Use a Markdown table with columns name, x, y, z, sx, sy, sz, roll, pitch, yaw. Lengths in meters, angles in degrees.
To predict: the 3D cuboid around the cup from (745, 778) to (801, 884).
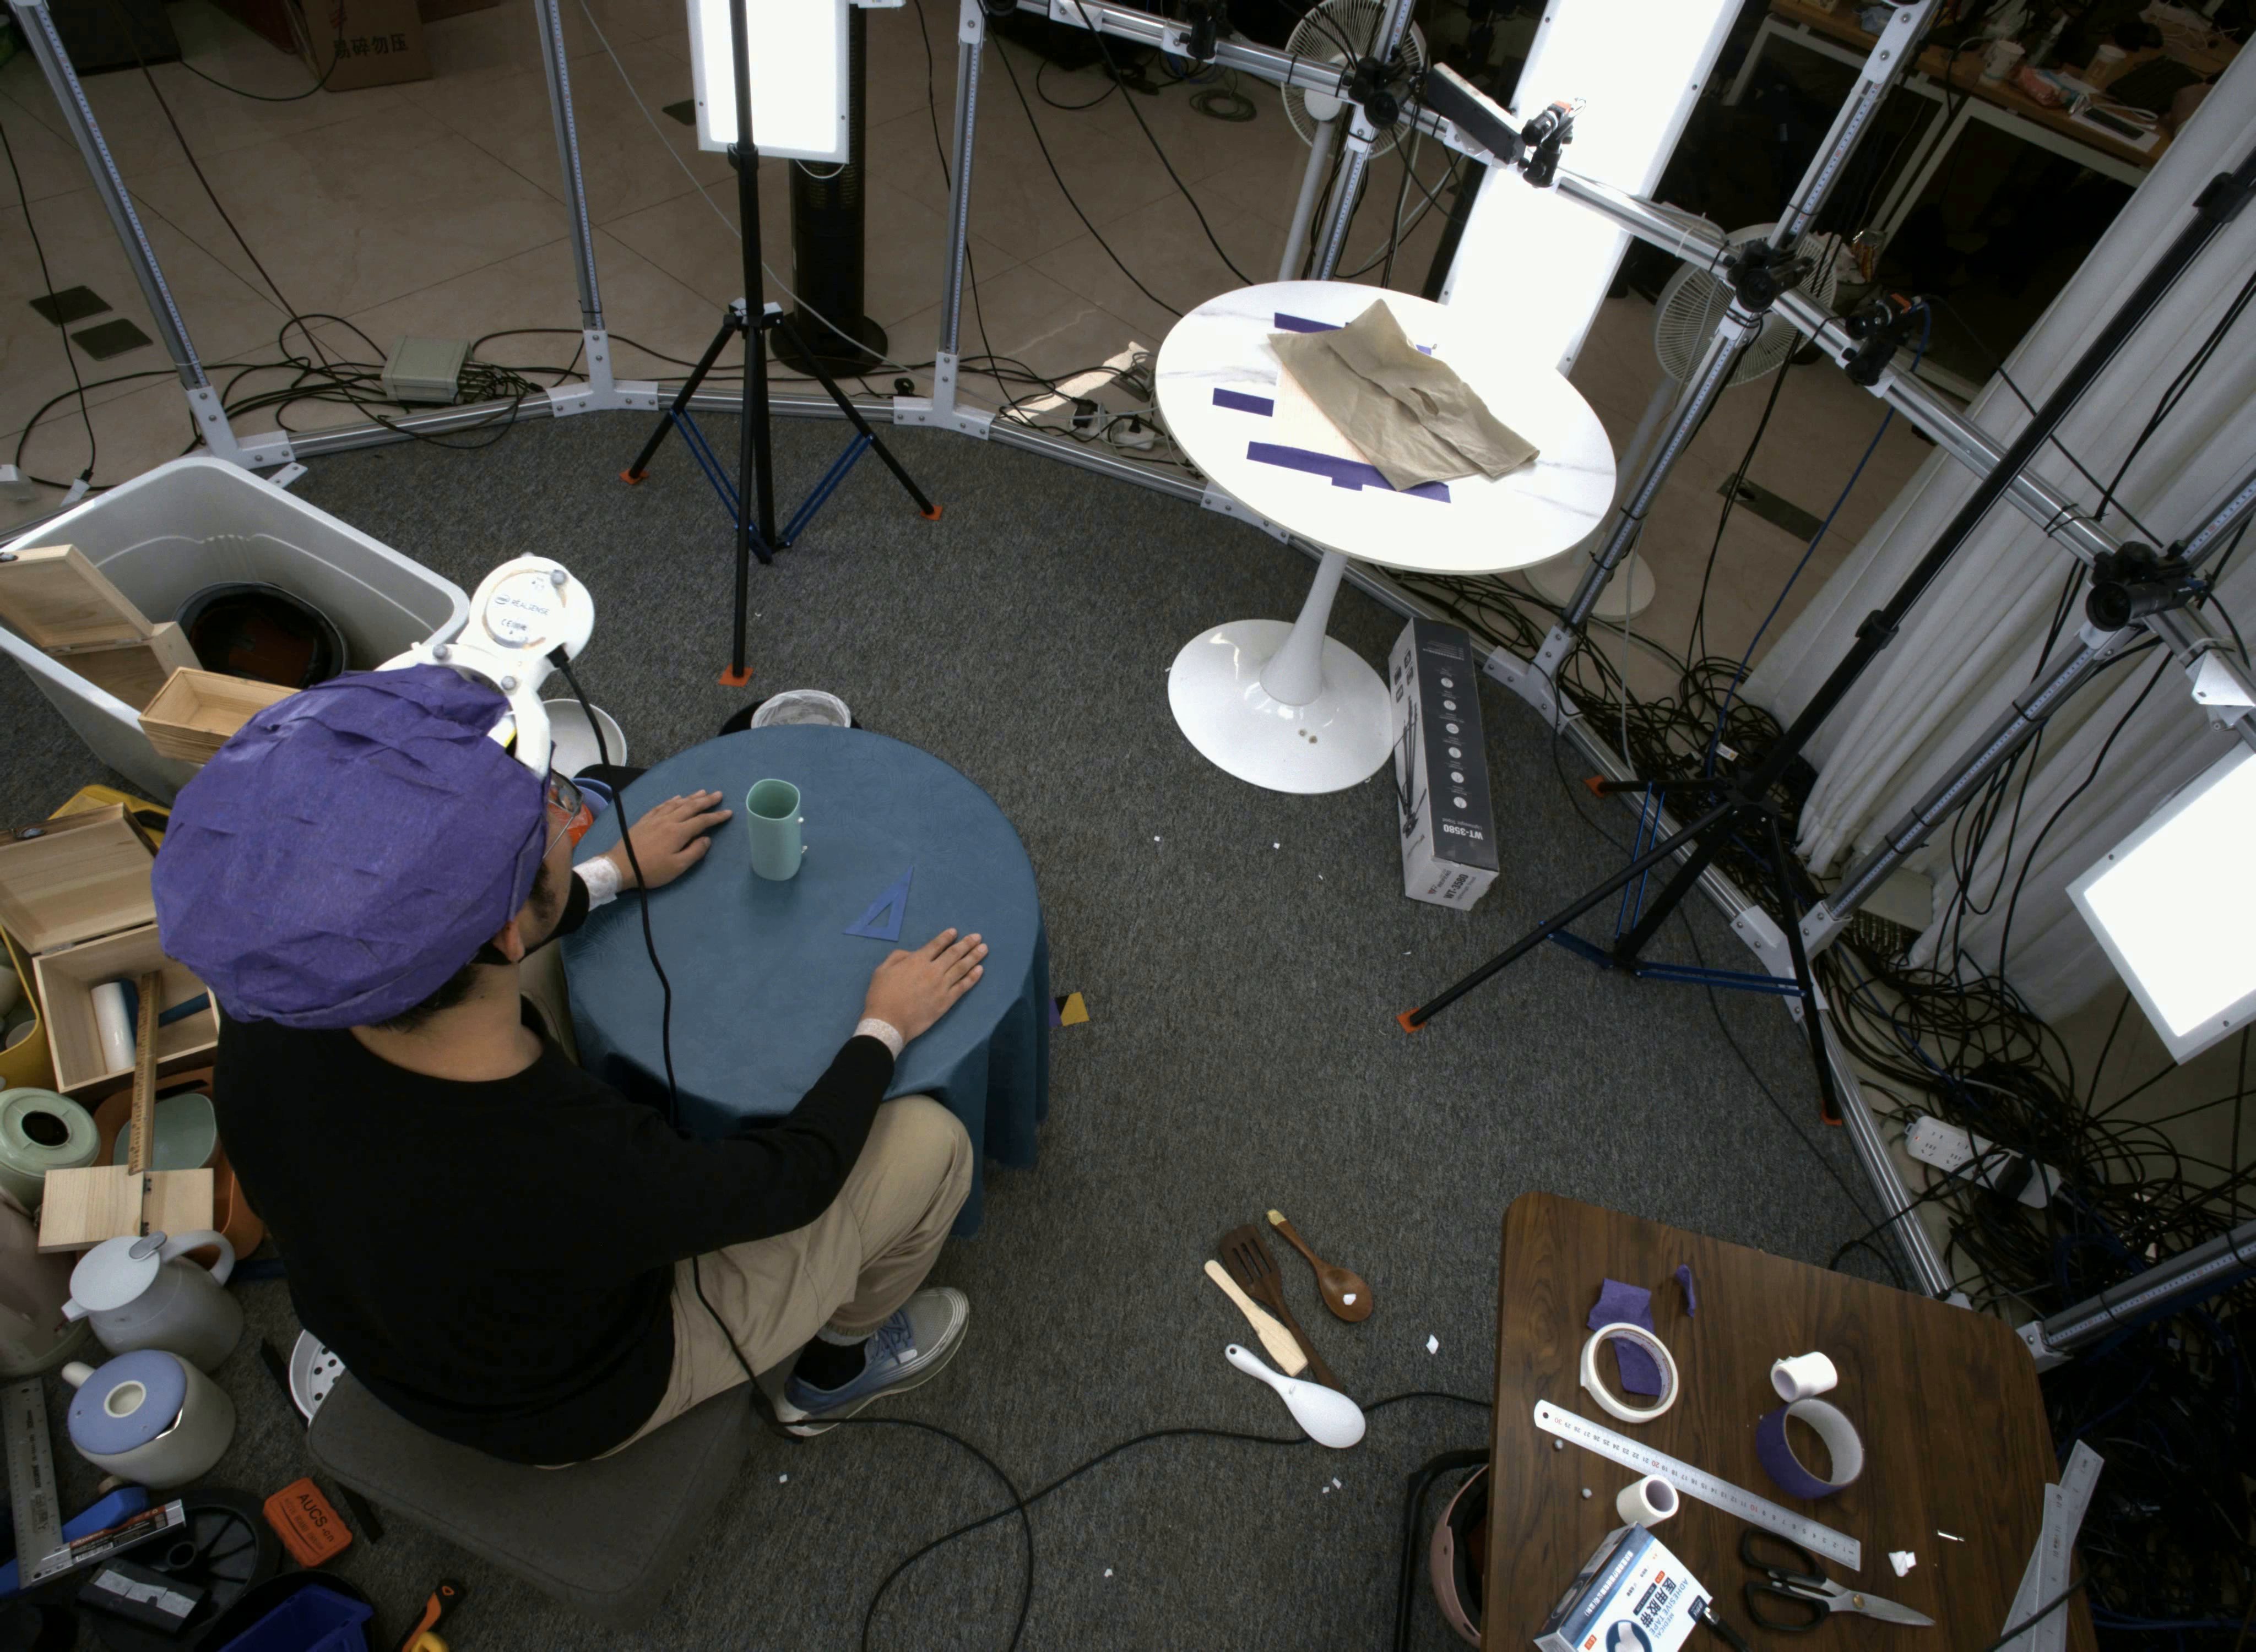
| name | x | y | z | sx | sy | sz | roll | pitch | yaw |
| --- | --- | --- | --- | --- | --- | --- | --- | --- | --- |
| cup | -0.445 | 0.007 | 1.628 | 0.066 | 0.135 | 0.065 | 7 | 51 | -7 |

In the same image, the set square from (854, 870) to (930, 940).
| name | x | y | z | sx | sy | sz | roll | pitch | yaw |
| --- | --- | --- | --- | --- | --- | --- | --- | --- | --- |
| set square | -0.287 | 0.105 | 1.674 | 0.060 | 0.007 | 0.132 | 36 | 53 | 15 |
